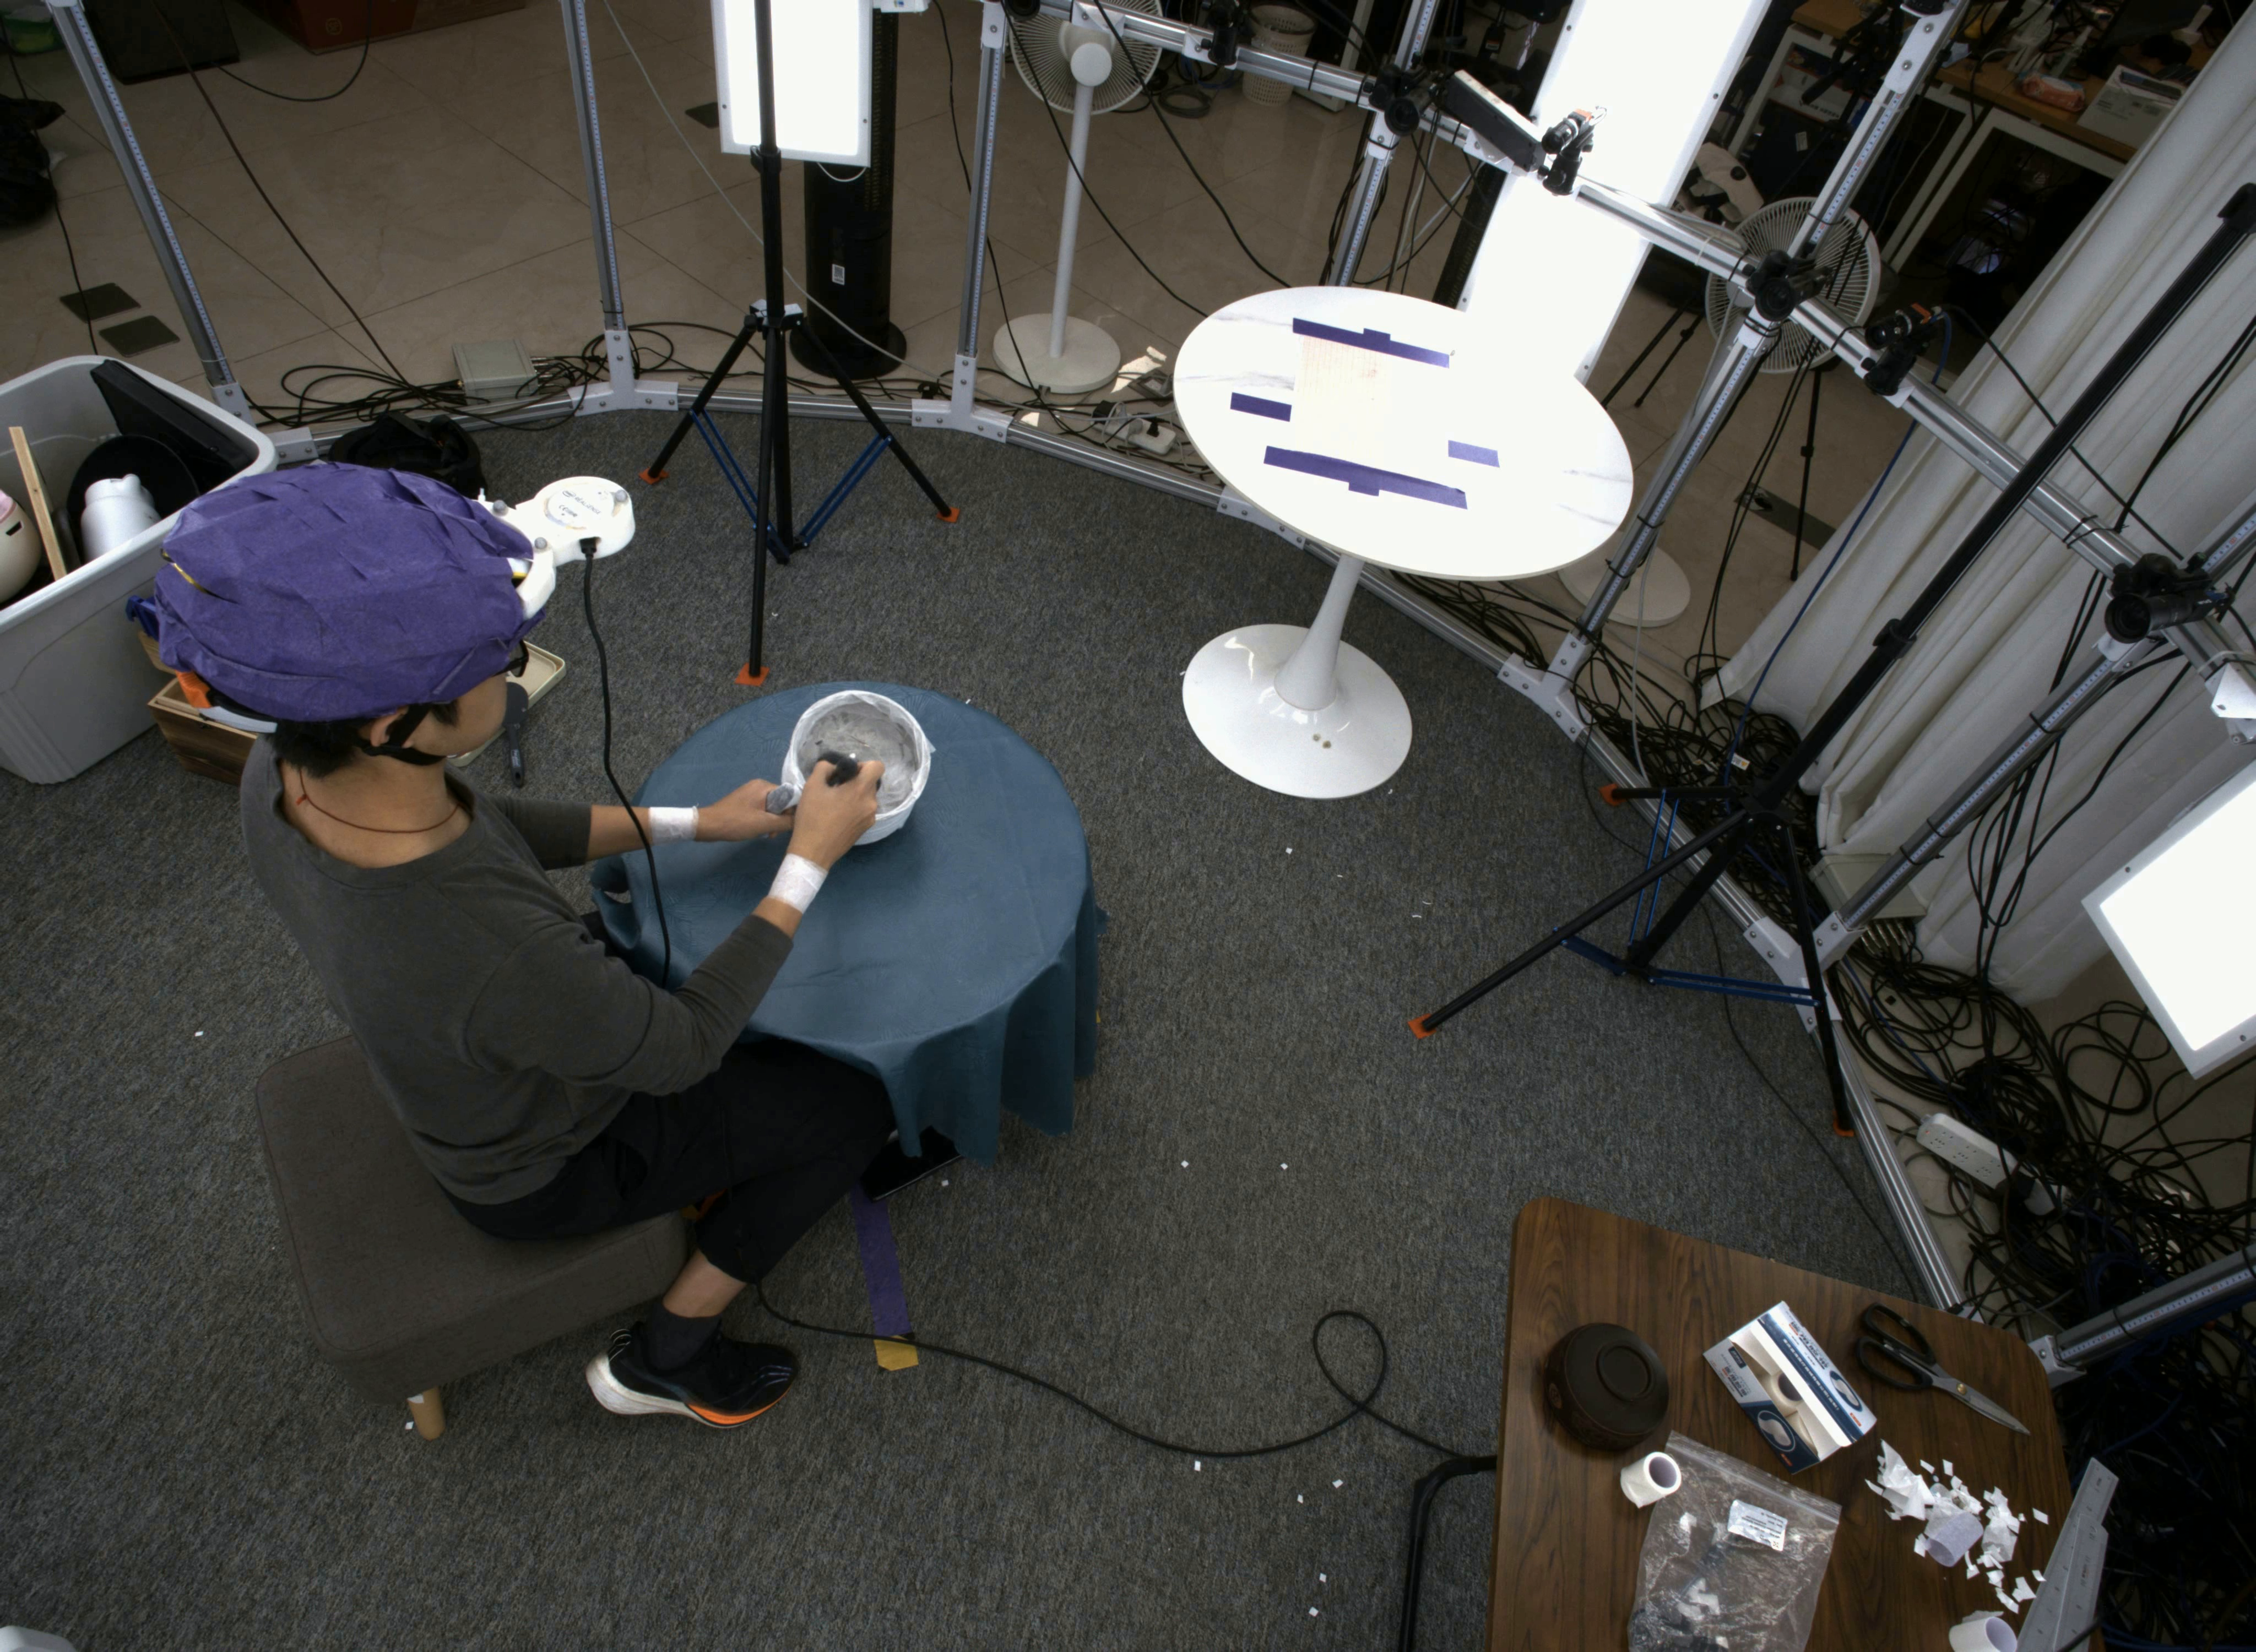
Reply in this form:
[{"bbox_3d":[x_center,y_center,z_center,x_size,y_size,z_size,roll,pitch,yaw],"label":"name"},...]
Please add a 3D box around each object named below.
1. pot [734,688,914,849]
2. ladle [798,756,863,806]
[{"bbox_3d":[-0.398,-0.057,1.675,0.234,0.136,0.179,-32,86,-27],"label":"pot"},{"bbox_3d":[-0.353,-0.071,1.541,0.087,0.311,0.064,18,79,-12],"label":"ladle"}]
